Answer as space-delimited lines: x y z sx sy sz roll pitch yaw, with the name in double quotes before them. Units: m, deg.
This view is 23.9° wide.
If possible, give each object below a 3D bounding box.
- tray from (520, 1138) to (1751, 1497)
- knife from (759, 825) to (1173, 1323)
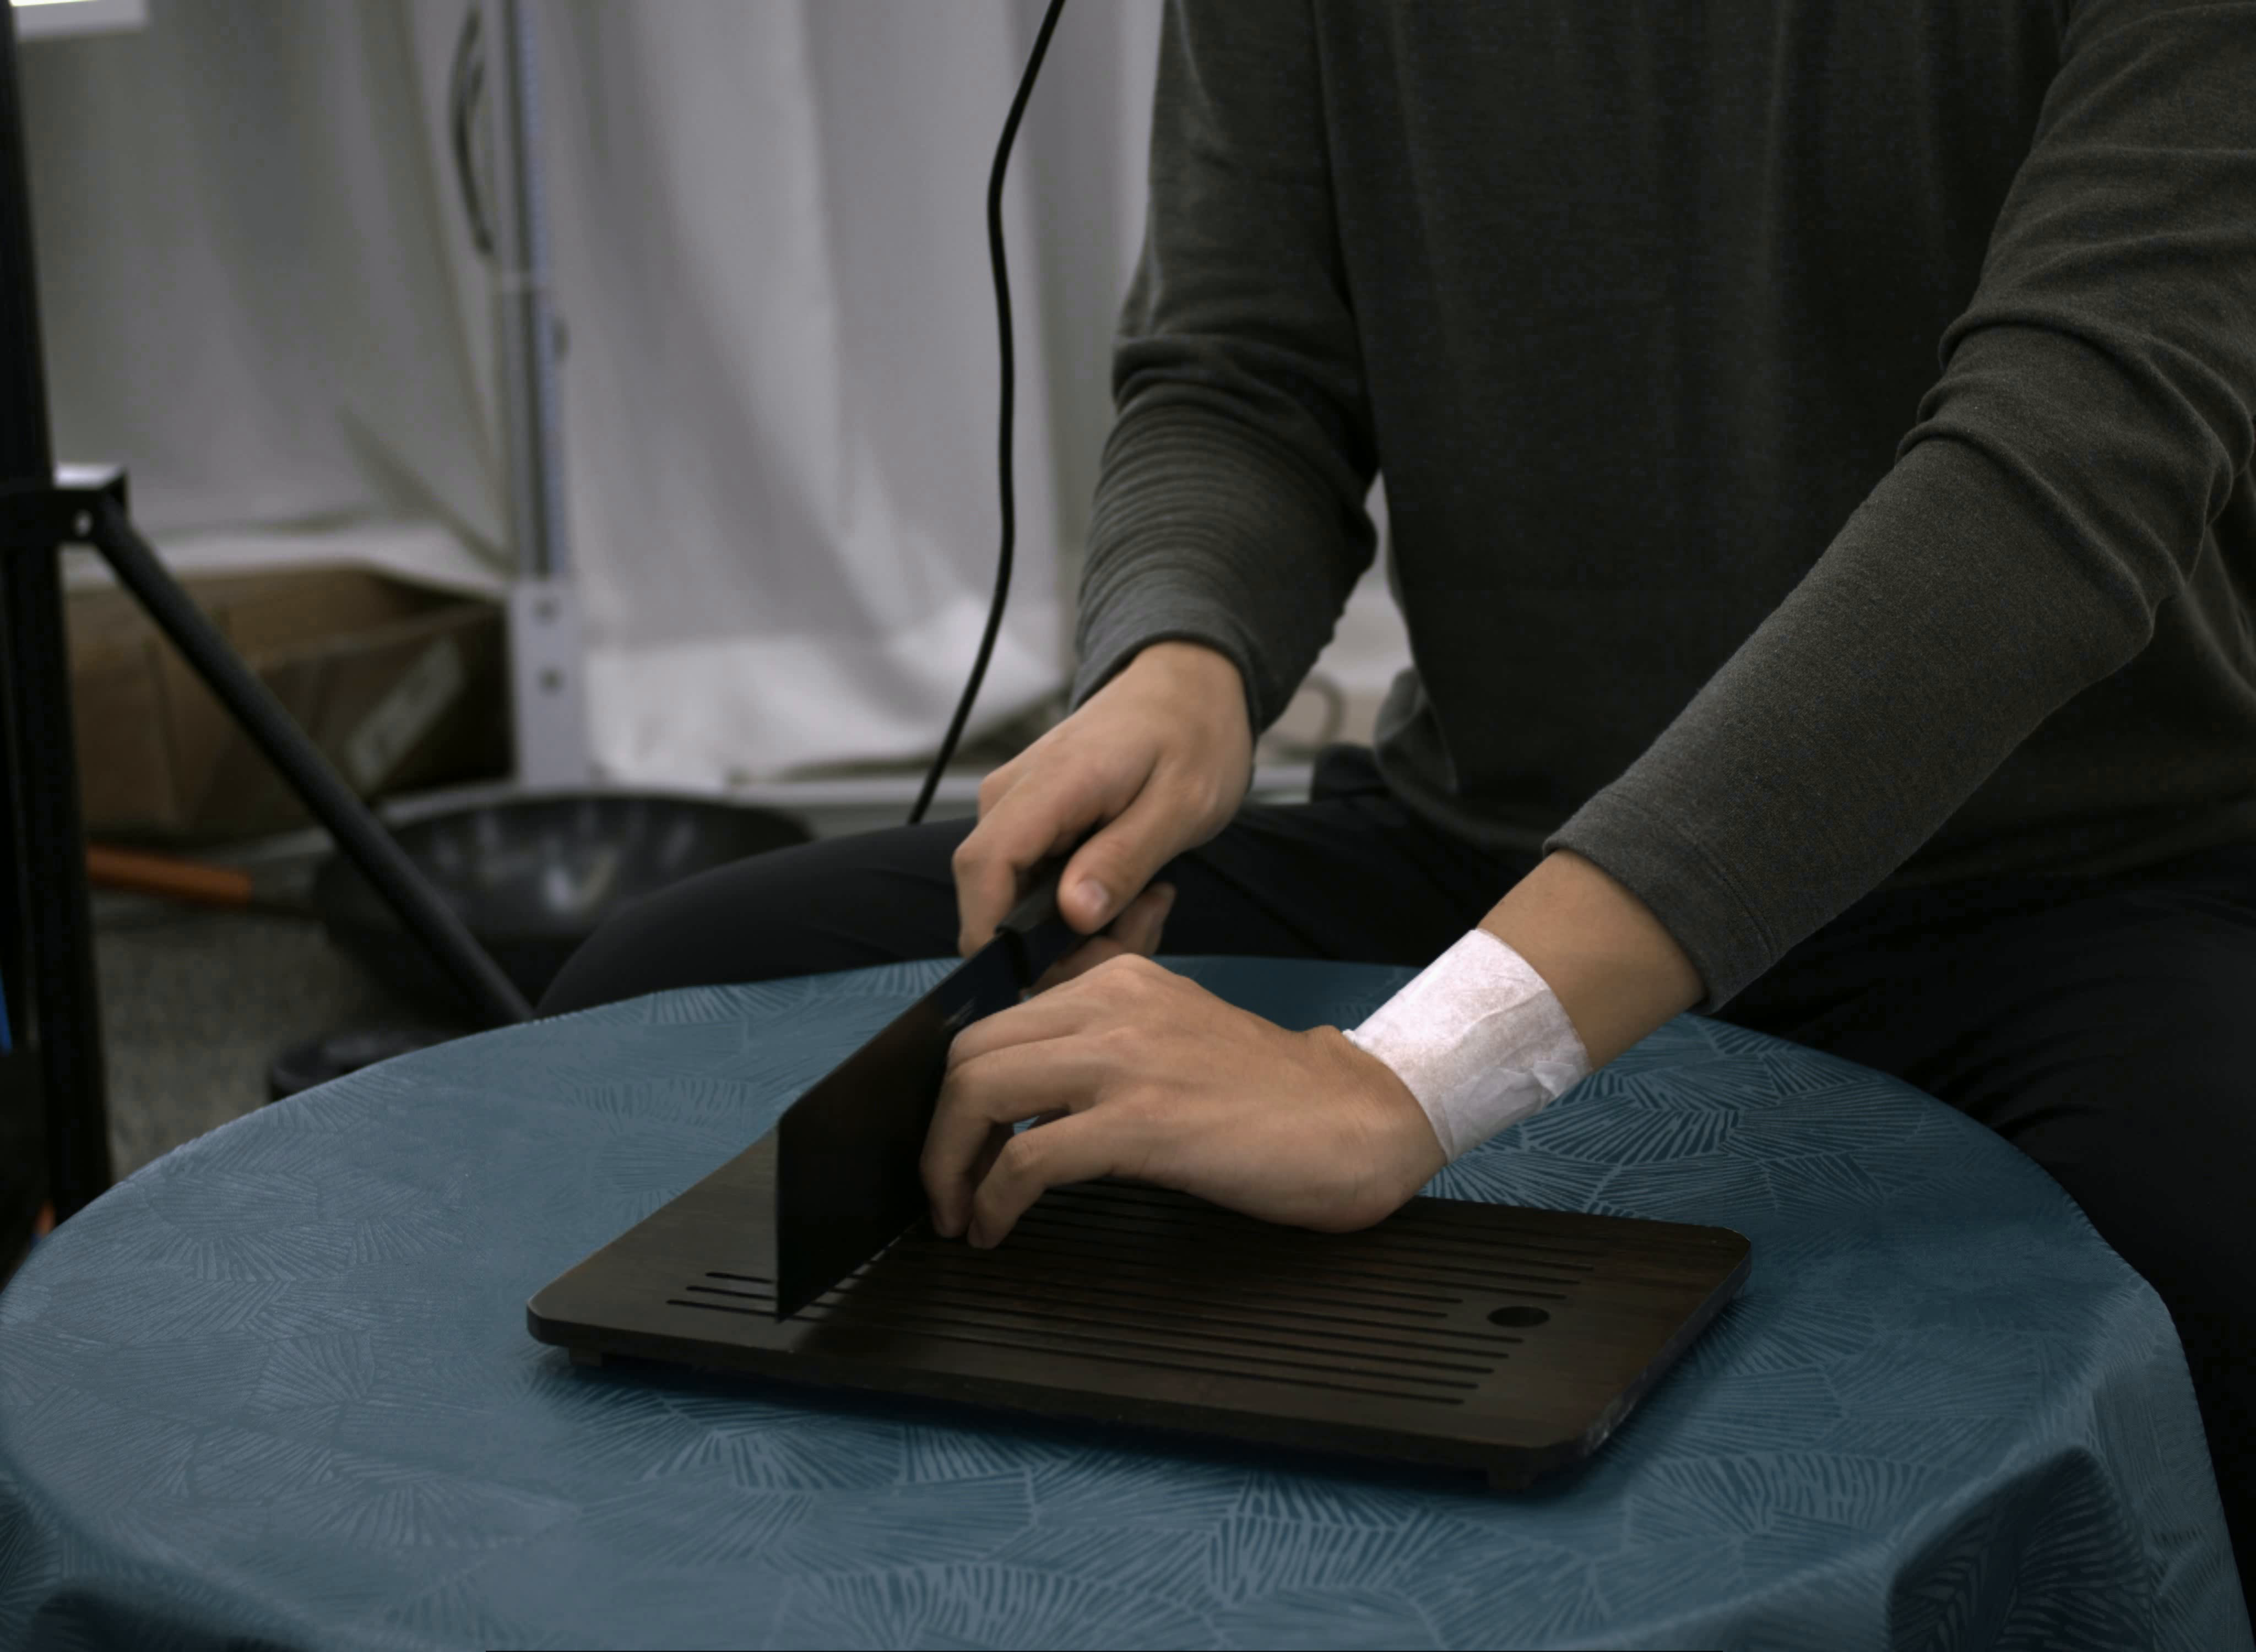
"tray" 0.003 0.130 1.448 0.310 0.018 0.167 5 17 25
"knife" -0.045 0.063 1.525 0.021 0.081 0.299 9 23 18
